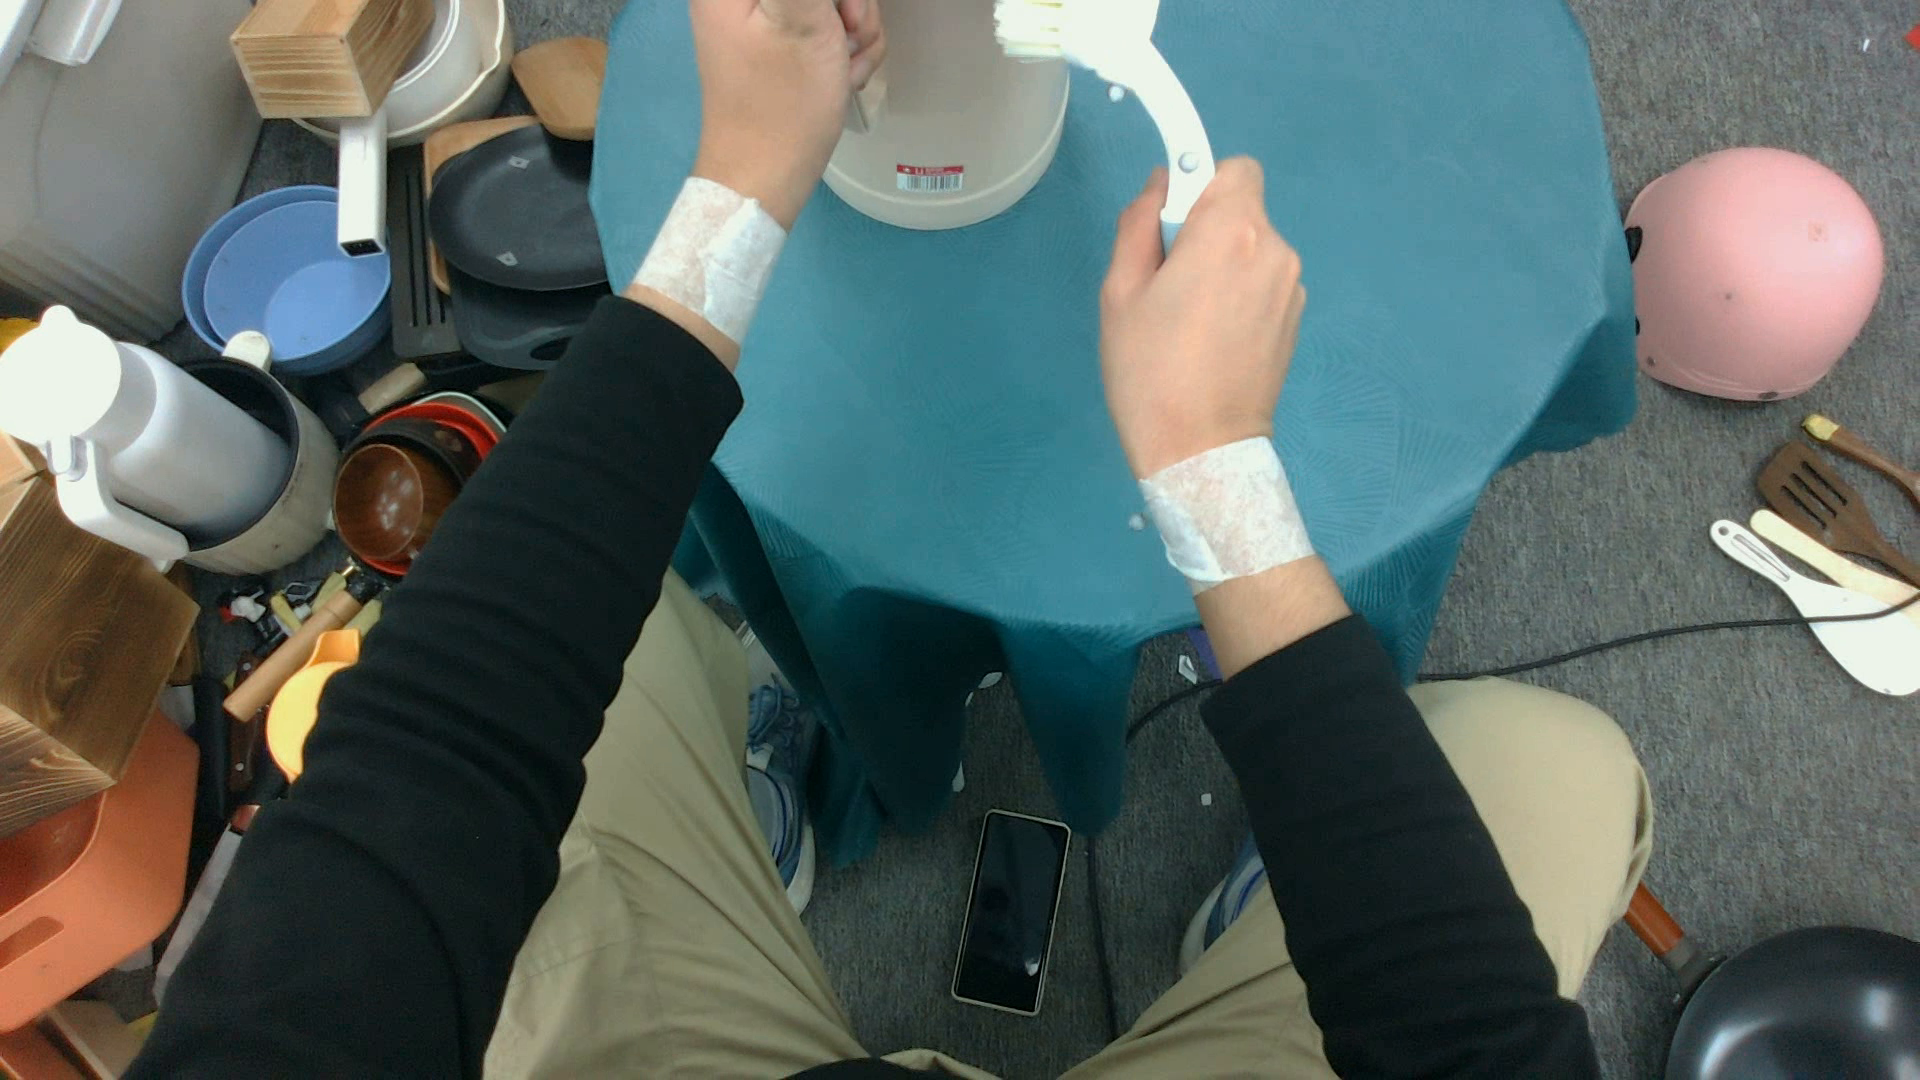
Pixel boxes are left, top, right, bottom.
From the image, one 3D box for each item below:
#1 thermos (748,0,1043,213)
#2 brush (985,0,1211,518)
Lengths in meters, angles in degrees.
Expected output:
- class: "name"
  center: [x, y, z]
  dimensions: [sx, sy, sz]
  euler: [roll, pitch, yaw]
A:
- class: "thermos"
  center: [-0.038, -0.302, 0.626]
  dimensions: [0.175, 0.405, 0.207]
  euler: [20, 76, 3]
- class: "brush"
  center: [0.052, -0.164, 0.570]
  dimensions: [0.083, 0.084, 0.324]
  euler: [-11, 114, -19]
